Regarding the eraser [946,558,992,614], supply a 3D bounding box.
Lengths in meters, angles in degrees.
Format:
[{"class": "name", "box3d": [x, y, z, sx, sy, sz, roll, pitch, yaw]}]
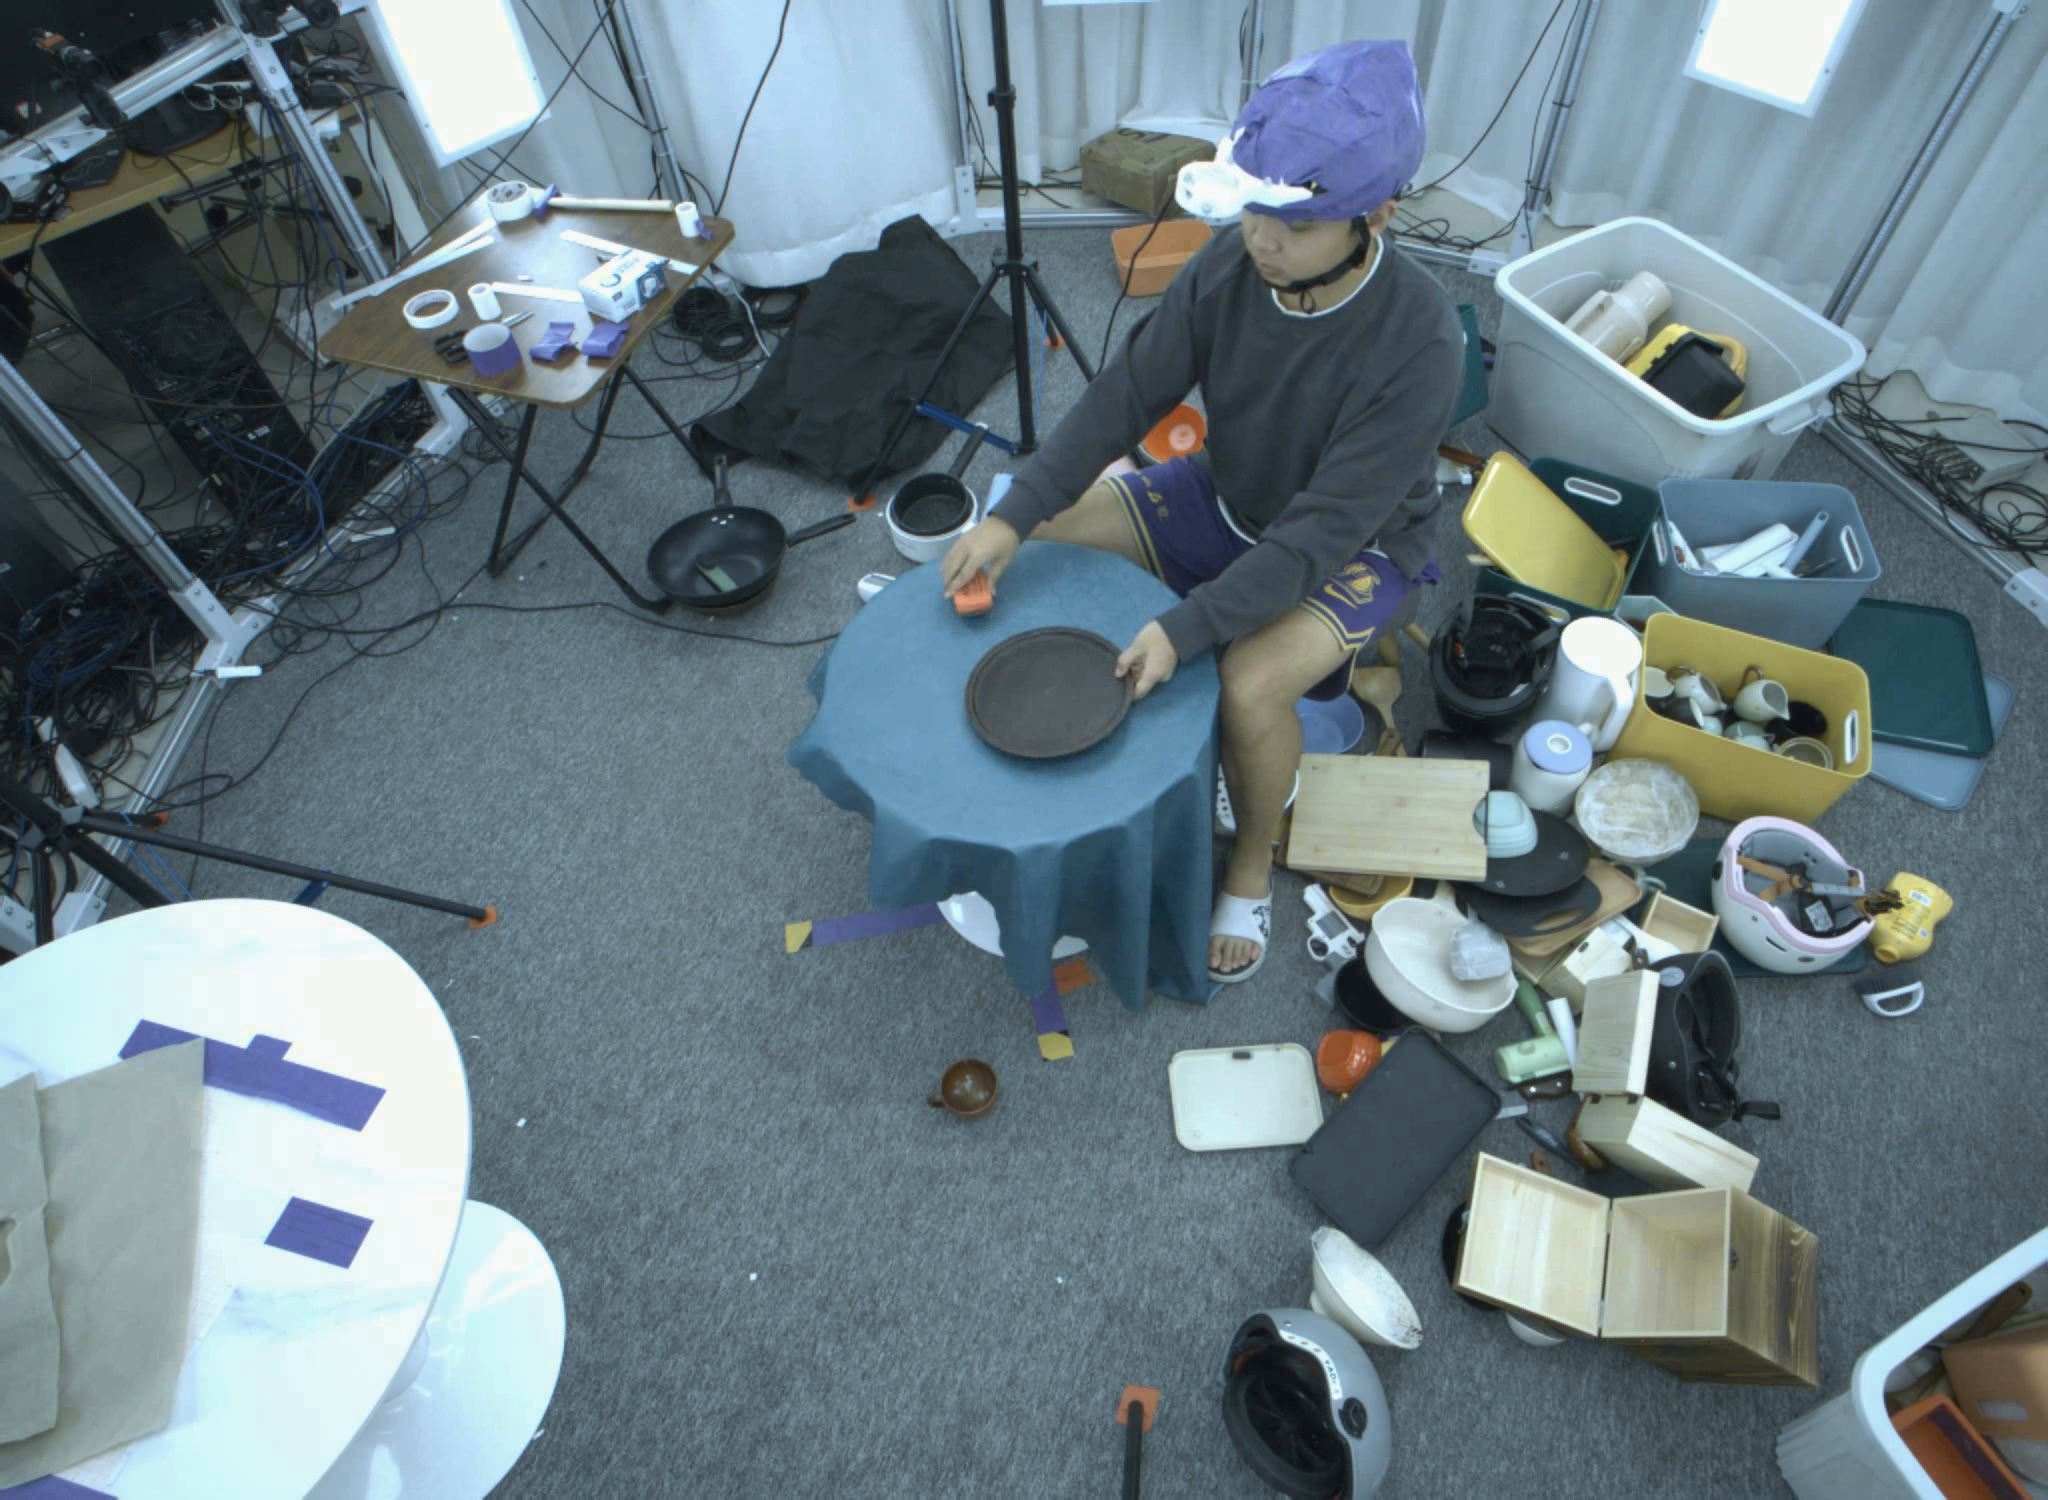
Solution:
[{"class": "eraser", "box3d": [-0.088, -0.260, 1.941, 0.059, 0.023, 0.106, -10, 48, -8]}]

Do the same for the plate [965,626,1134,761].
[{"class": "plate", "box3d": [0.037, -0.085, 1.825, 0.254, 0.029, 0.252, -4, 52, 6]}]
